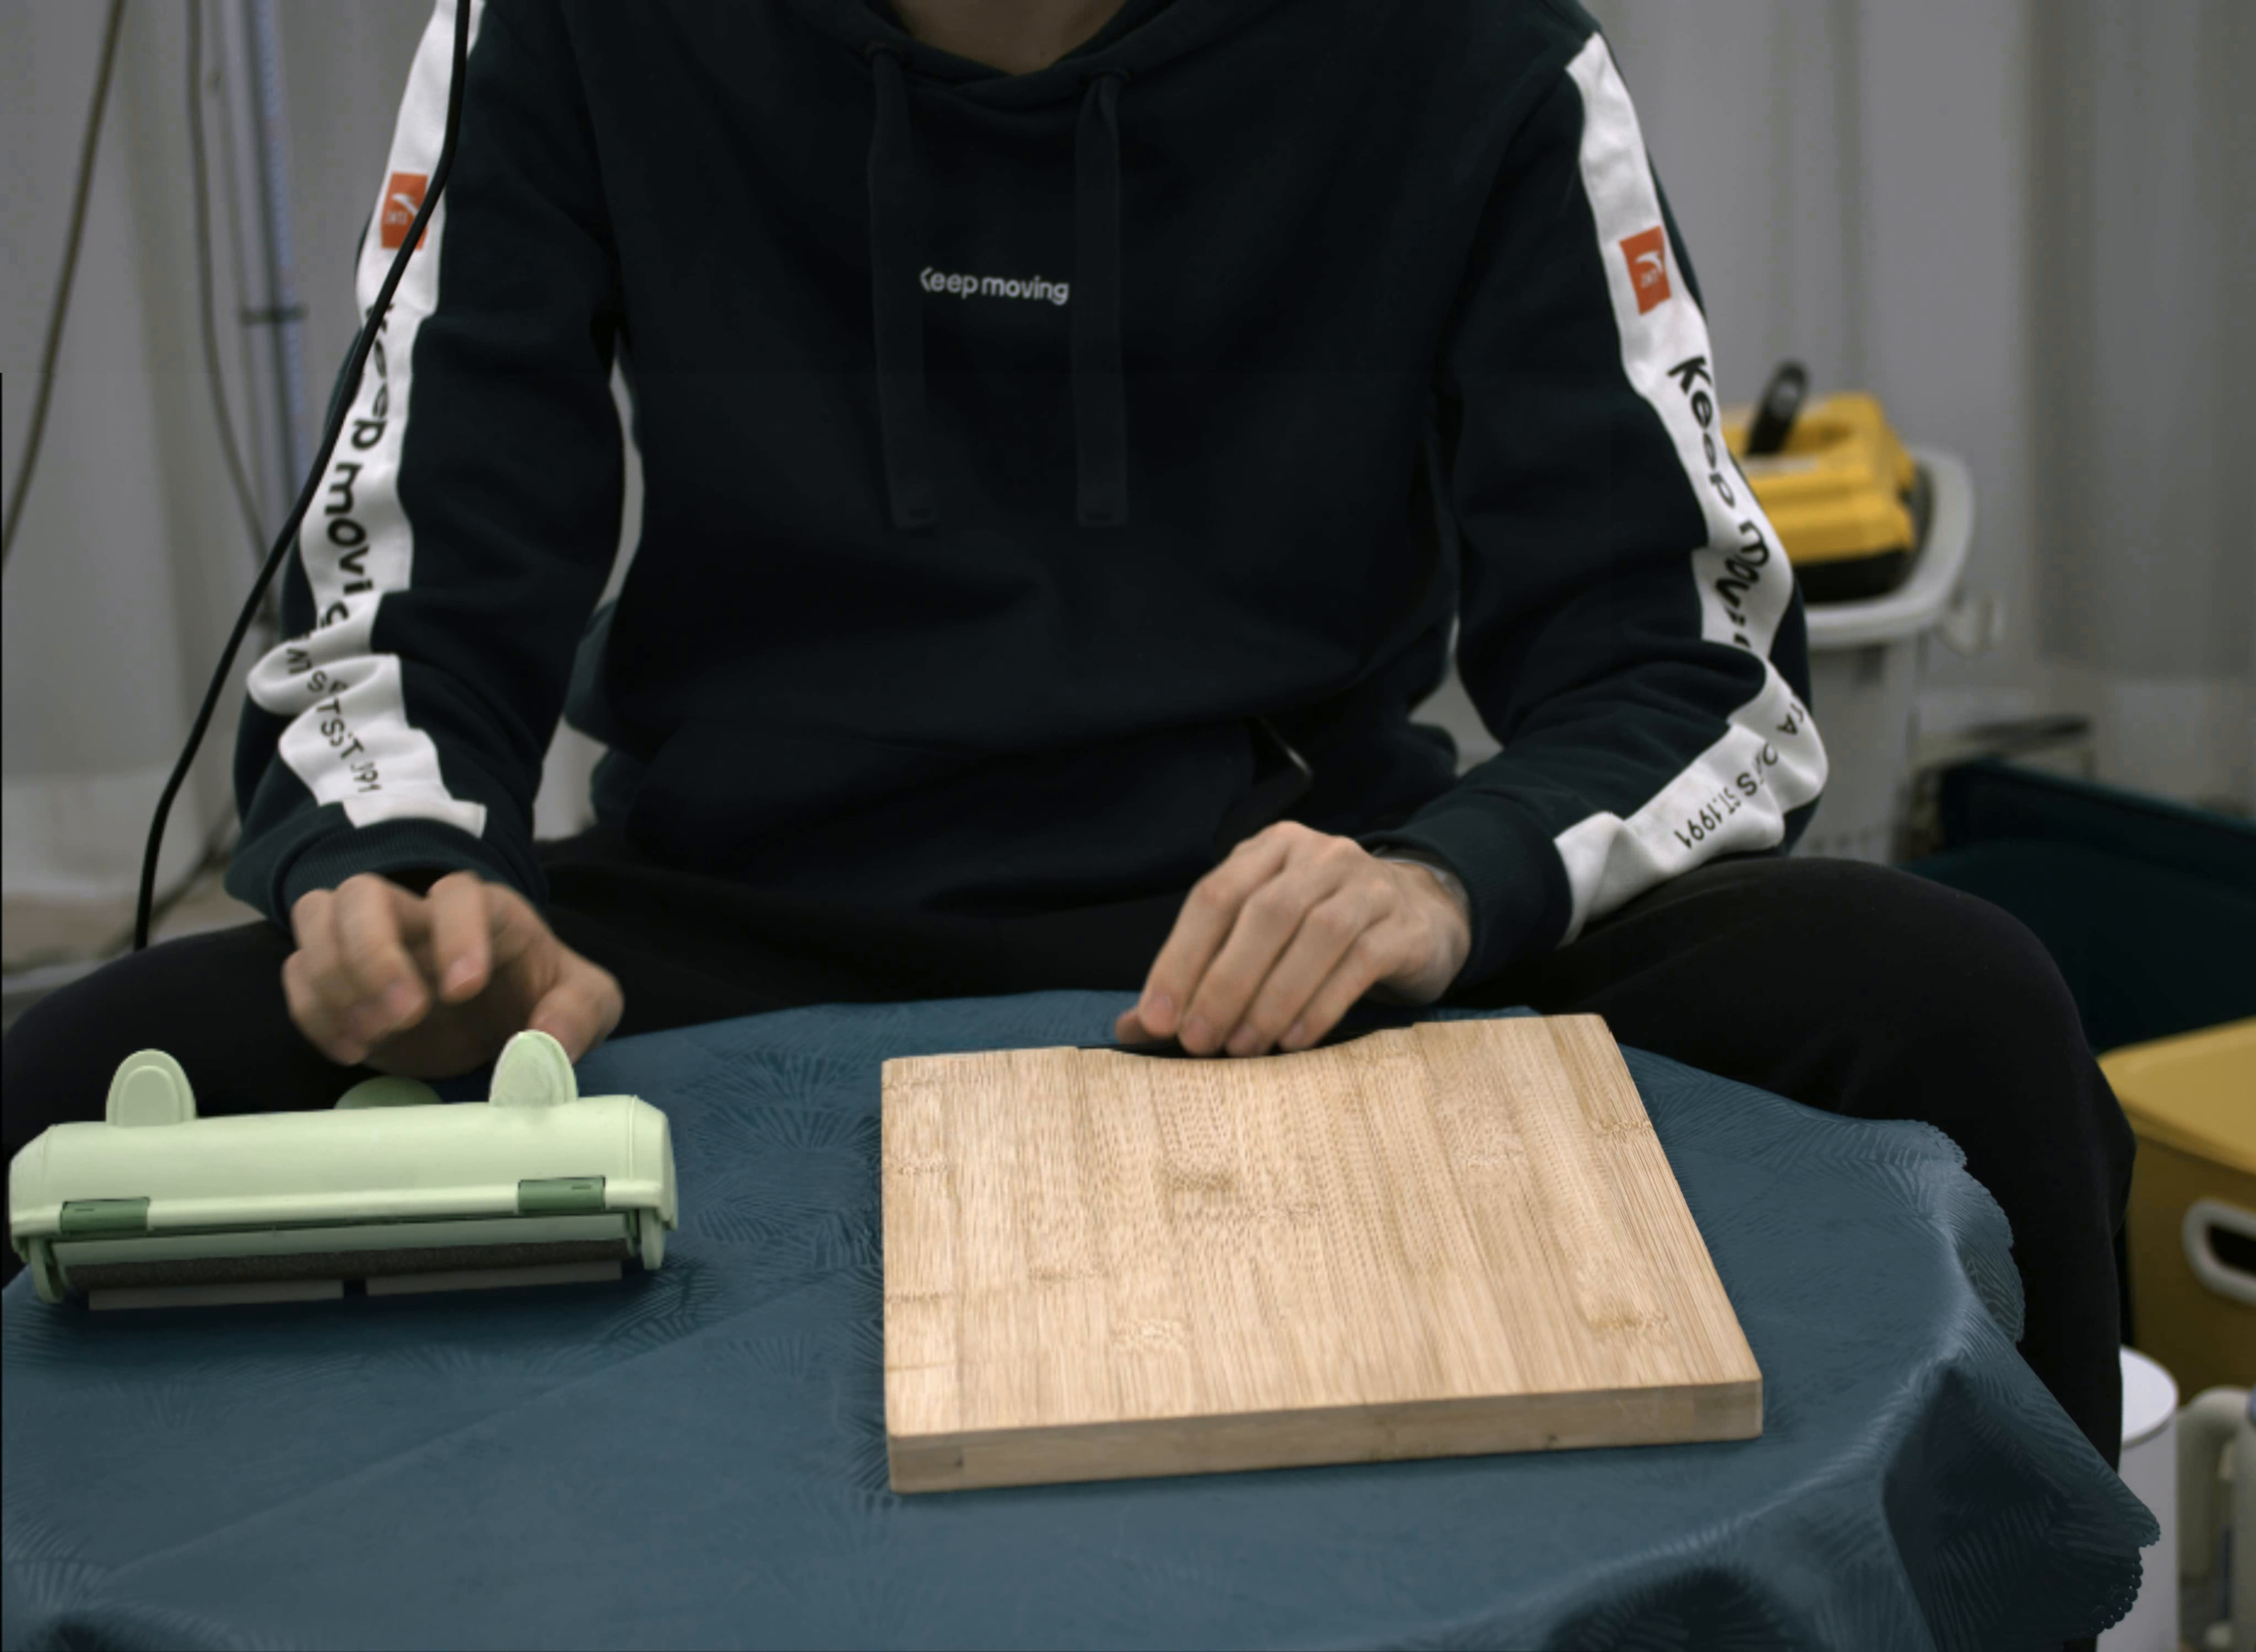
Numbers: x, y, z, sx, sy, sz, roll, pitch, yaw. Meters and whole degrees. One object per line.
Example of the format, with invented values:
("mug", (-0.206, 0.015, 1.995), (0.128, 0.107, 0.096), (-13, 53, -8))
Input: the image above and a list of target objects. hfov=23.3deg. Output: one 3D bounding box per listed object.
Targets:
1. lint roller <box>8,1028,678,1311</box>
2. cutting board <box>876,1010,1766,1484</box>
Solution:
("lint roller", (-0.237, 0.089, 1.703), (0.198, 0.082, 0.185), (-3, 18, 0))
("cutting board", (0.047, 0.122, 1.648), (0.250, 0.023, 0.351), (-3, 15, -3))
